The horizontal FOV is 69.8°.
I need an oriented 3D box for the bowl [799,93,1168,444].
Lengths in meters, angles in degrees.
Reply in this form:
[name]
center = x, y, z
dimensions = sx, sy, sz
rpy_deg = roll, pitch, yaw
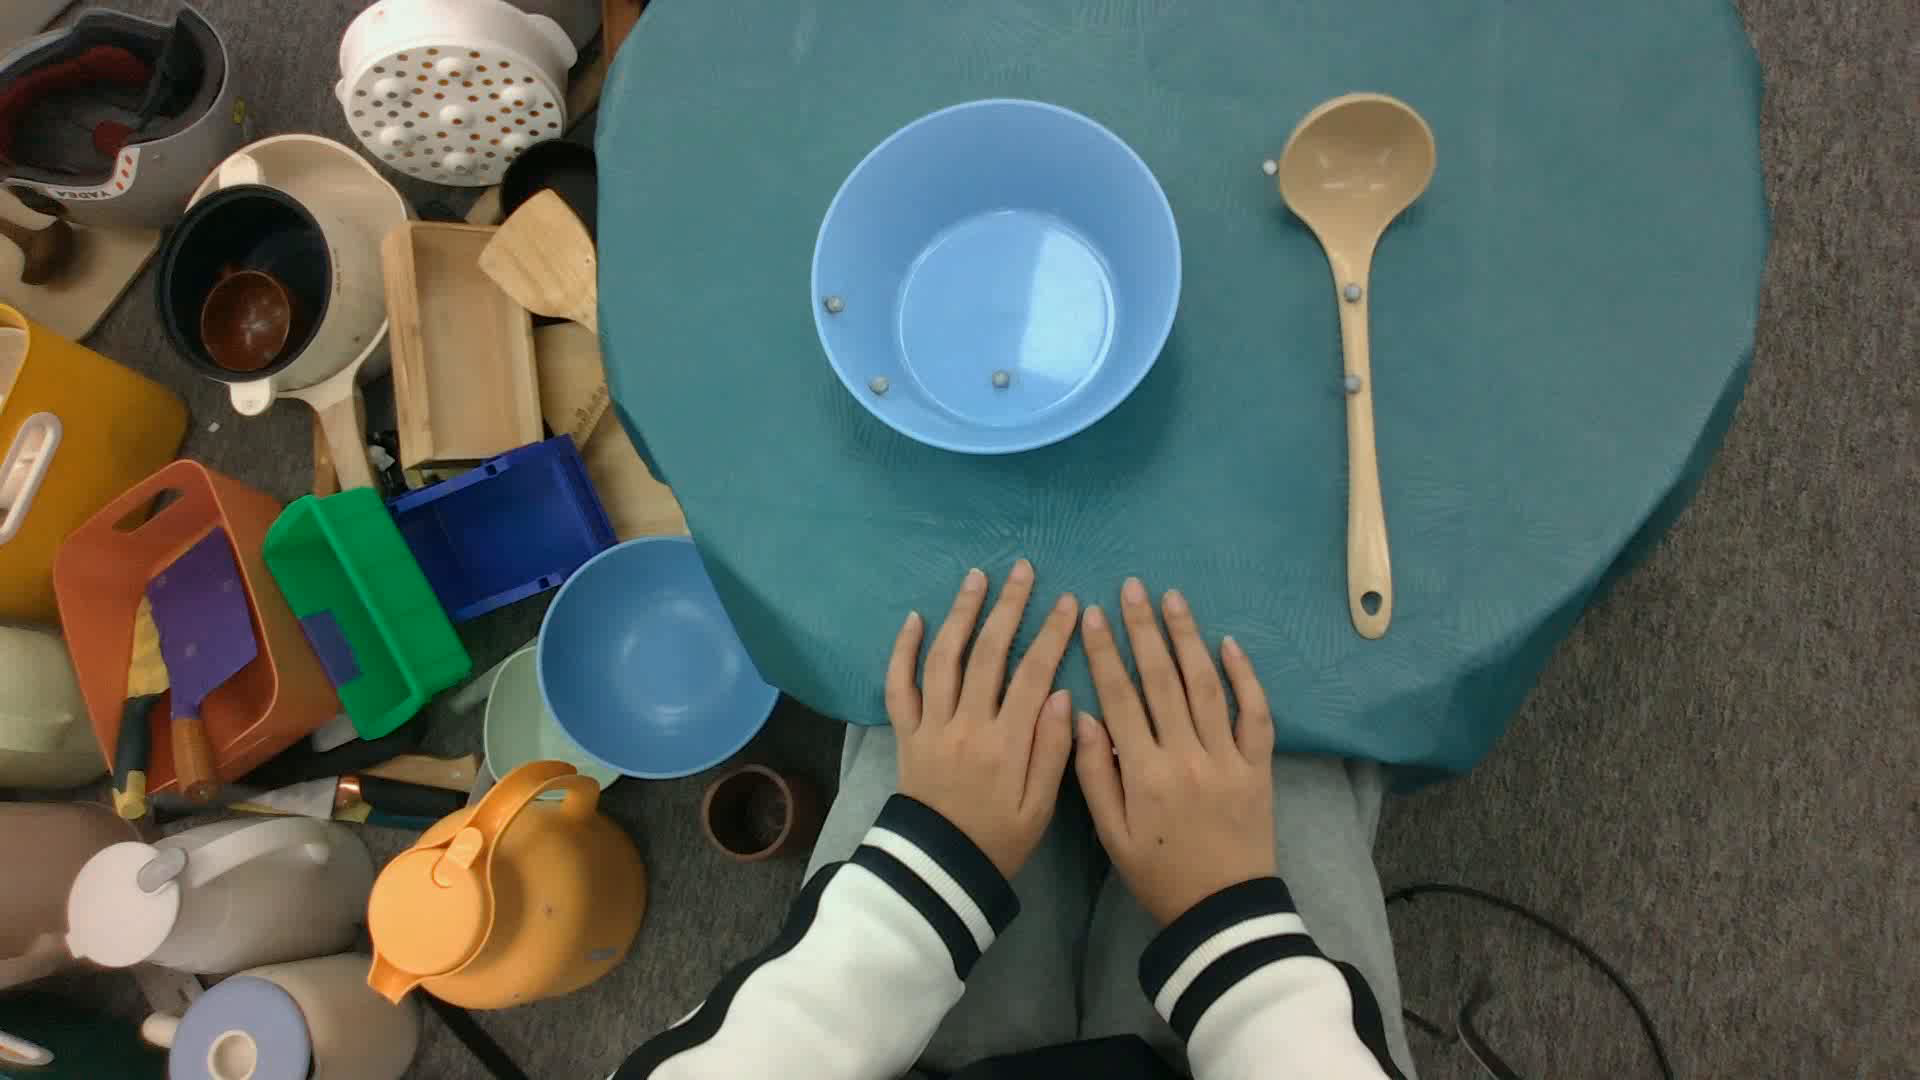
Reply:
[bowl]
center = 0.014, -0.124, 0.678
dimensions = 0.176, 0.070, 0.176
rpy_deg = -2, 78, 8

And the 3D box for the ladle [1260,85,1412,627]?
[ladle]
center = 0.186, -0.090, 0.648
dimensions = 0.072, 0.073, 0.255
rpy_deg = -4, 78, 6
